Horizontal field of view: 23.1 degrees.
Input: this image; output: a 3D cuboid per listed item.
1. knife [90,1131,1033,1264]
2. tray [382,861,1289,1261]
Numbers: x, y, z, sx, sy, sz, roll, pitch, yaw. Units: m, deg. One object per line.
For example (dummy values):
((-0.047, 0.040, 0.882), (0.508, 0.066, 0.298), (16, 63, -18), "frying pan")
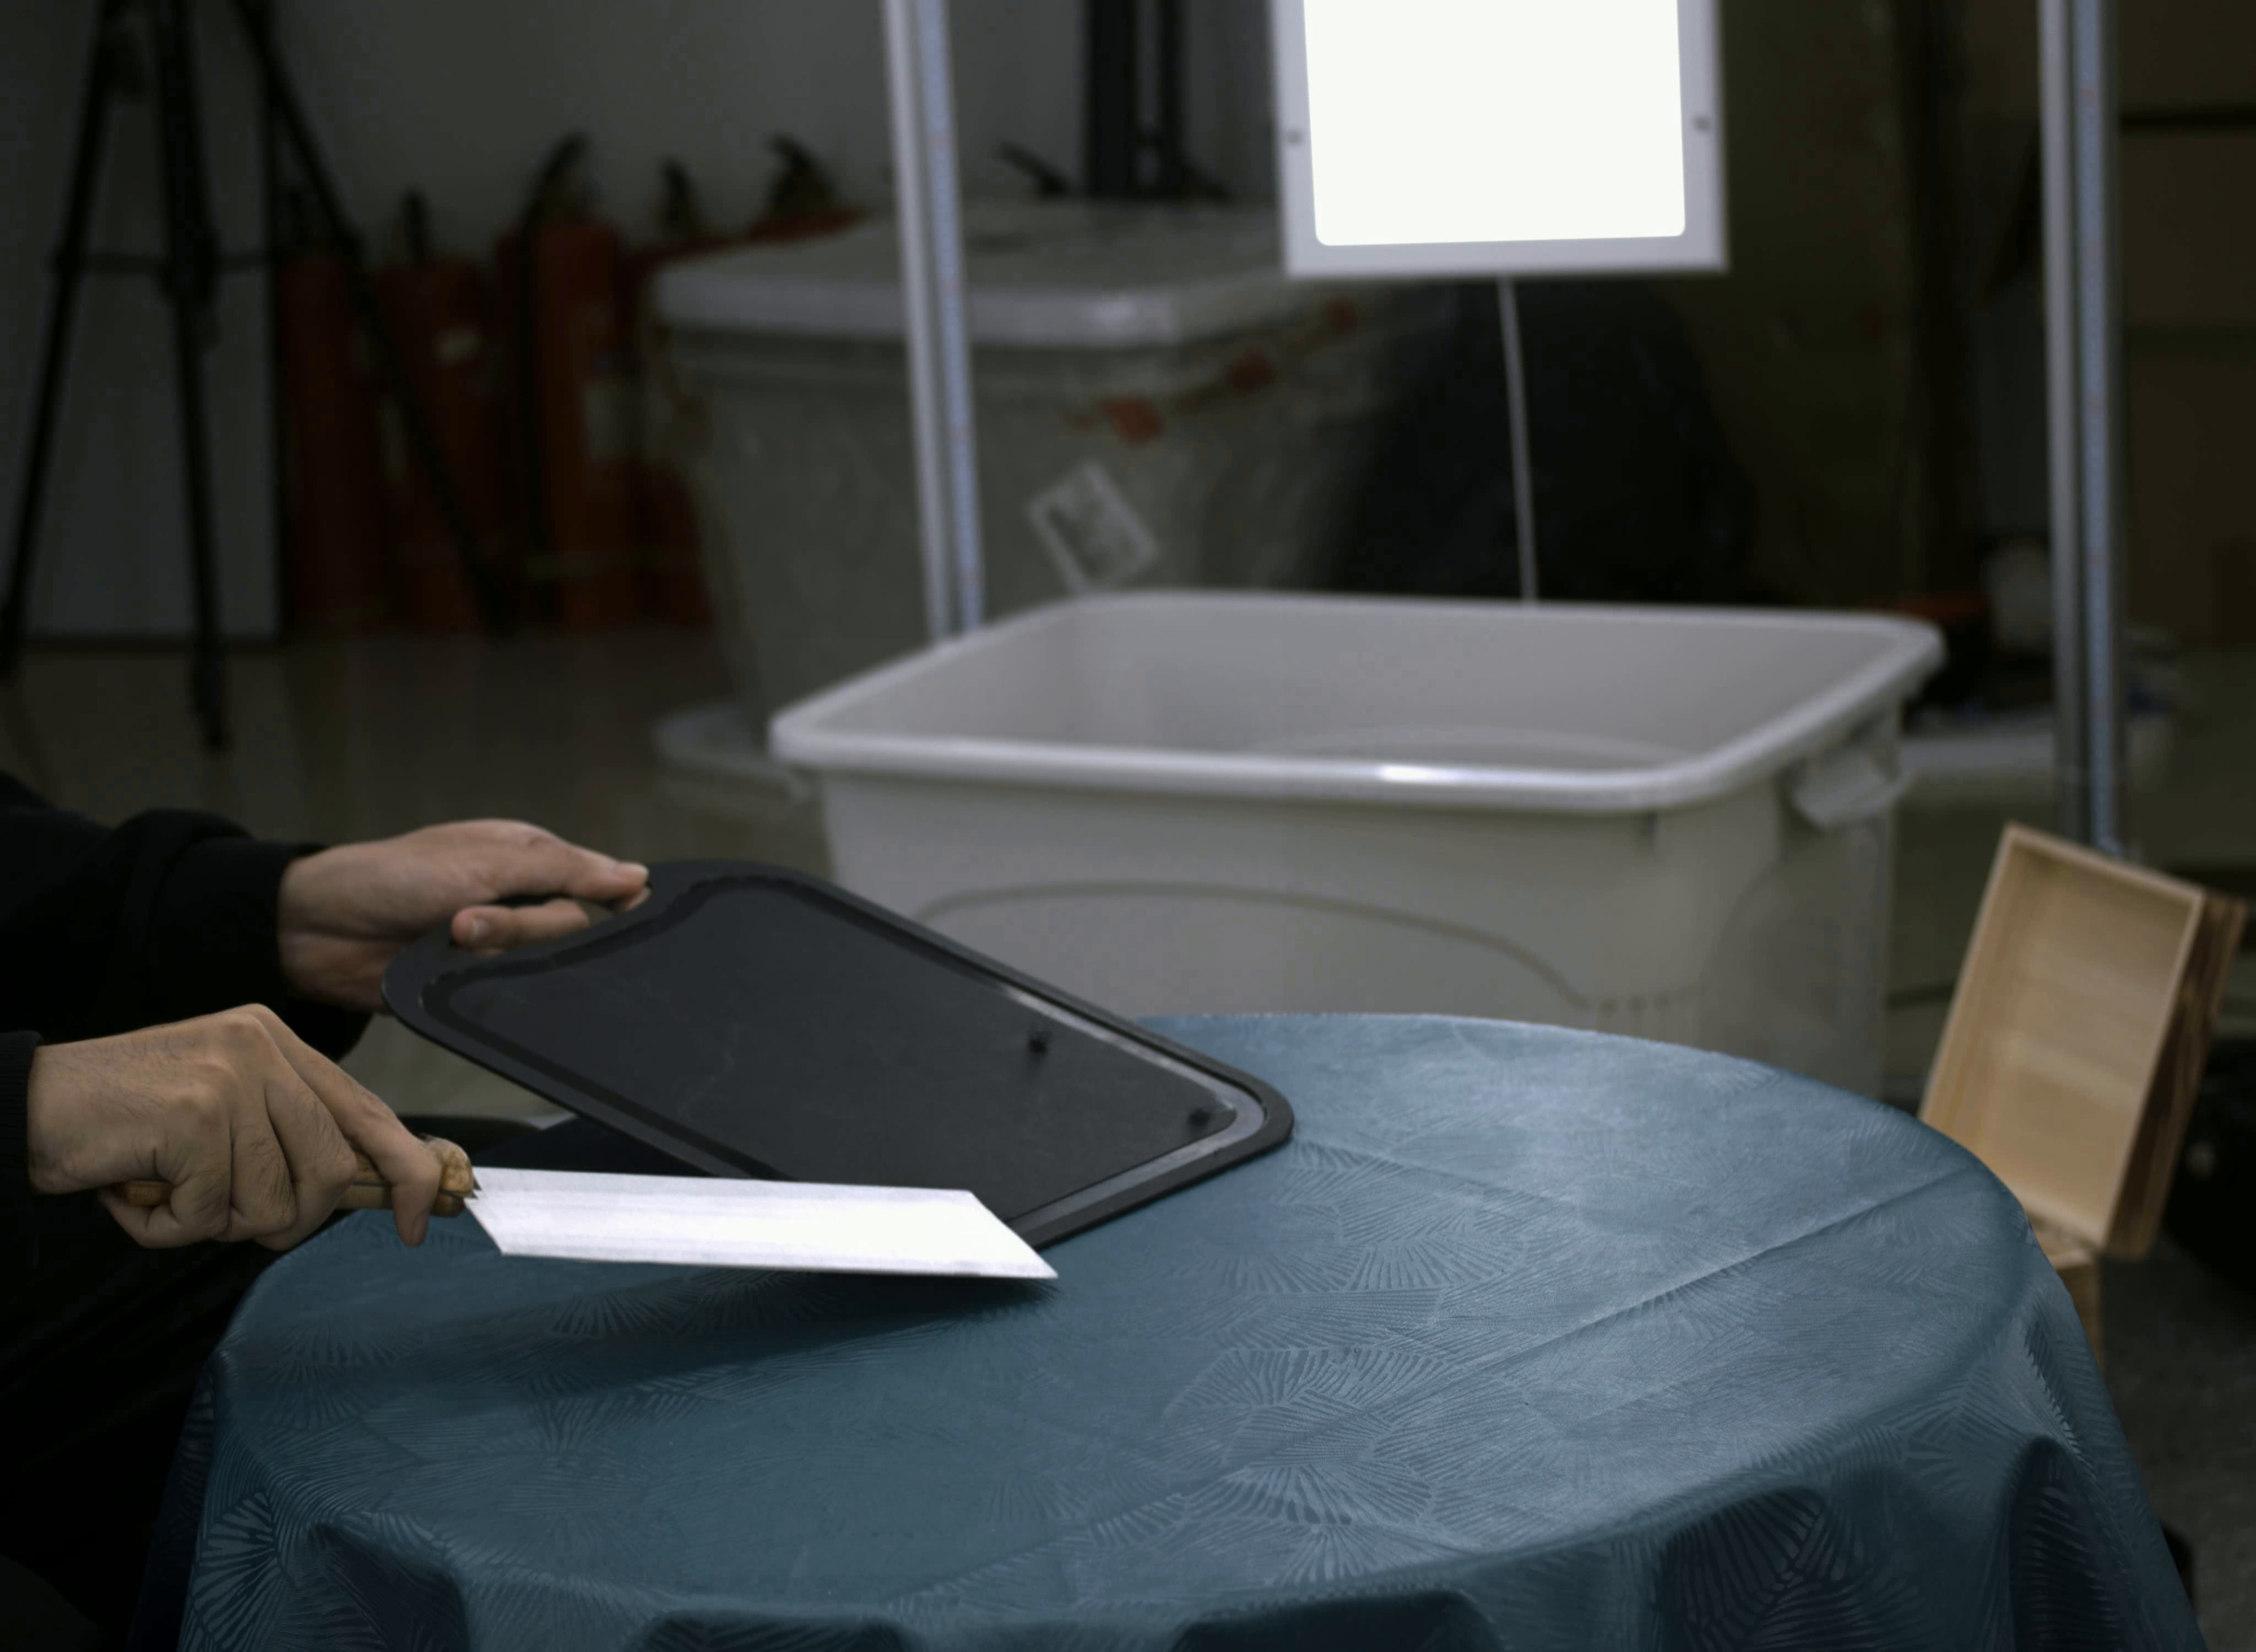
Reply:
((-0.178, 0.124, 1.786), (0.300, 0.021, 0.094), (4, 12, -21), "knife")
((-0.113, 0.076, 1.982), (0.331, 0.010, 0.206), (23, 29, 38), "tray")
